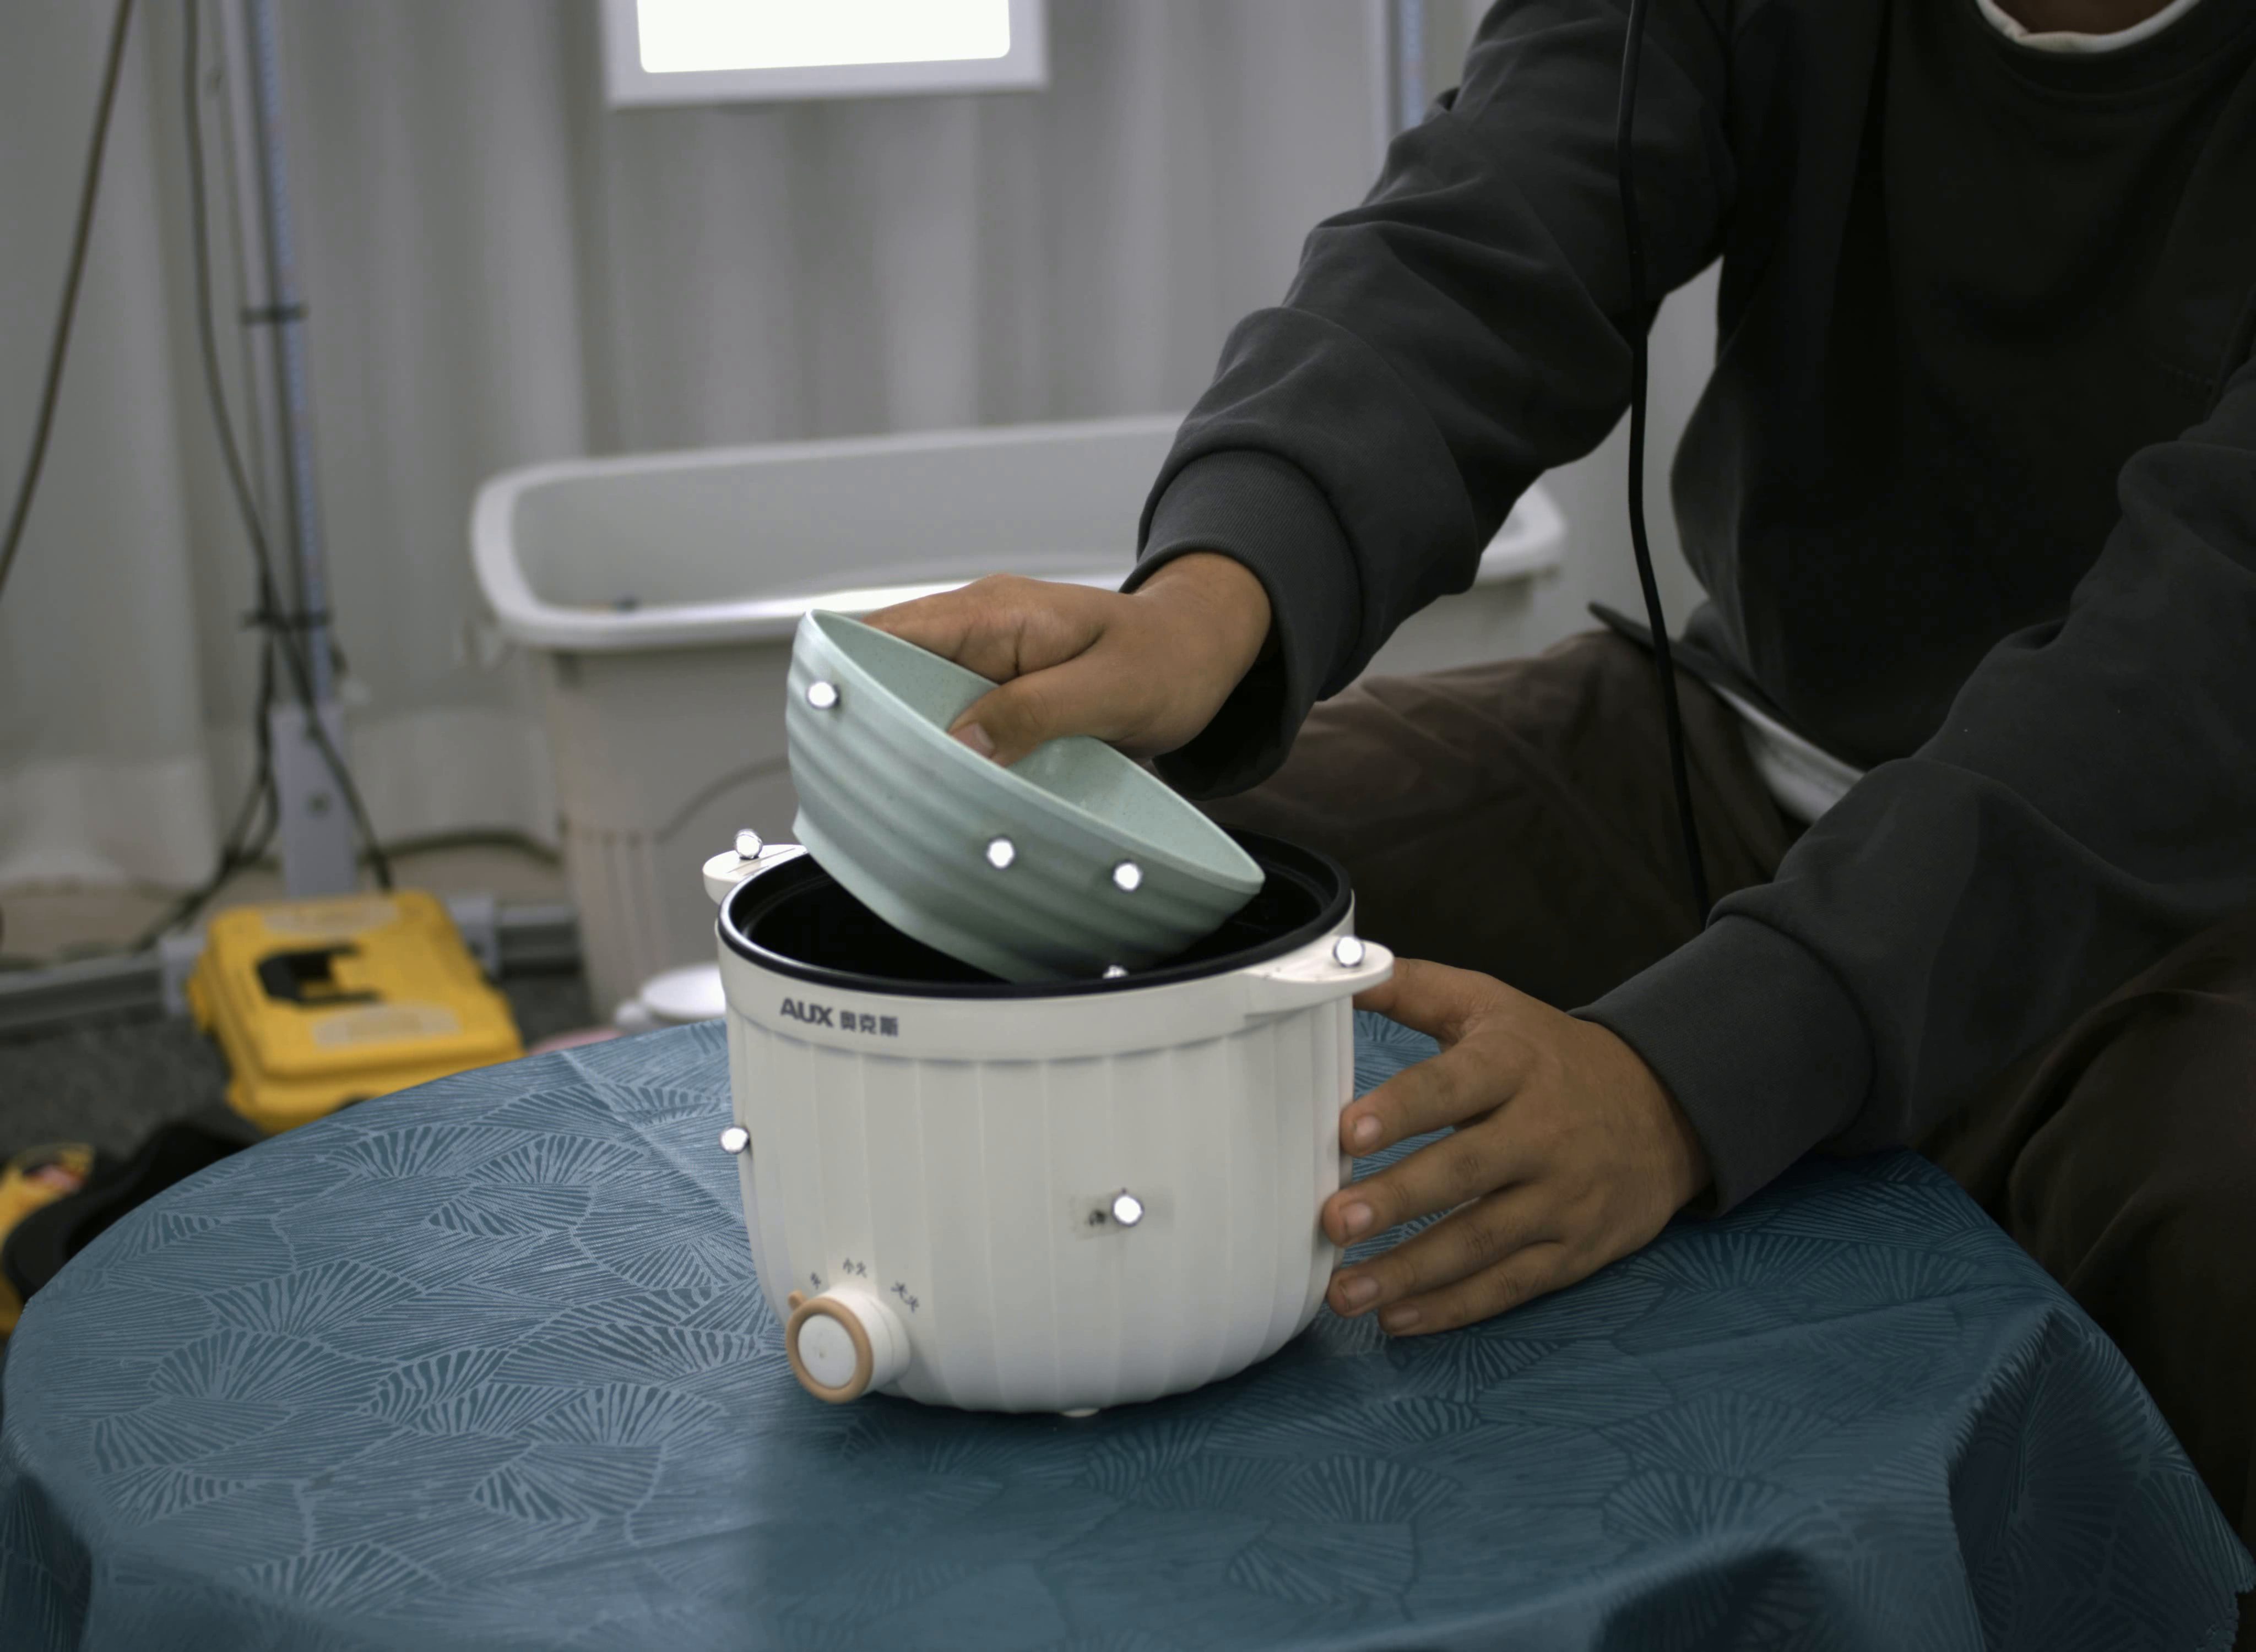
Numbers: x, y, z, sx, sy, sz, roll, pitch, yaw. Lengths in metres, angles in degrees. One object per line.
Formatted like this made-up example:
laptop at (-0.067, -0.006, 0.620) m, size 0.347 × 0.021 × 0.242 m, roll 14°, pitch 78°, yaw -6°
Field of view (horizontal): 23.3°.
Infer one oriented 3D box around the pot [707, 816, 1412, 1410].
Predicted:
pot at (-0.023, 0.084, 1.566) m, size 0.241 × 0.142 × 0.190 m, roll 6°, pitch 13°, yaw 36°

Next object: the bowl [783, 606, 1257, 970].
bowl at (-0.042, 0.001, 1.548) m, size 0.151 × 0.058 × 0.152 m, roll 30°, pitch 9°, yaw -5°
